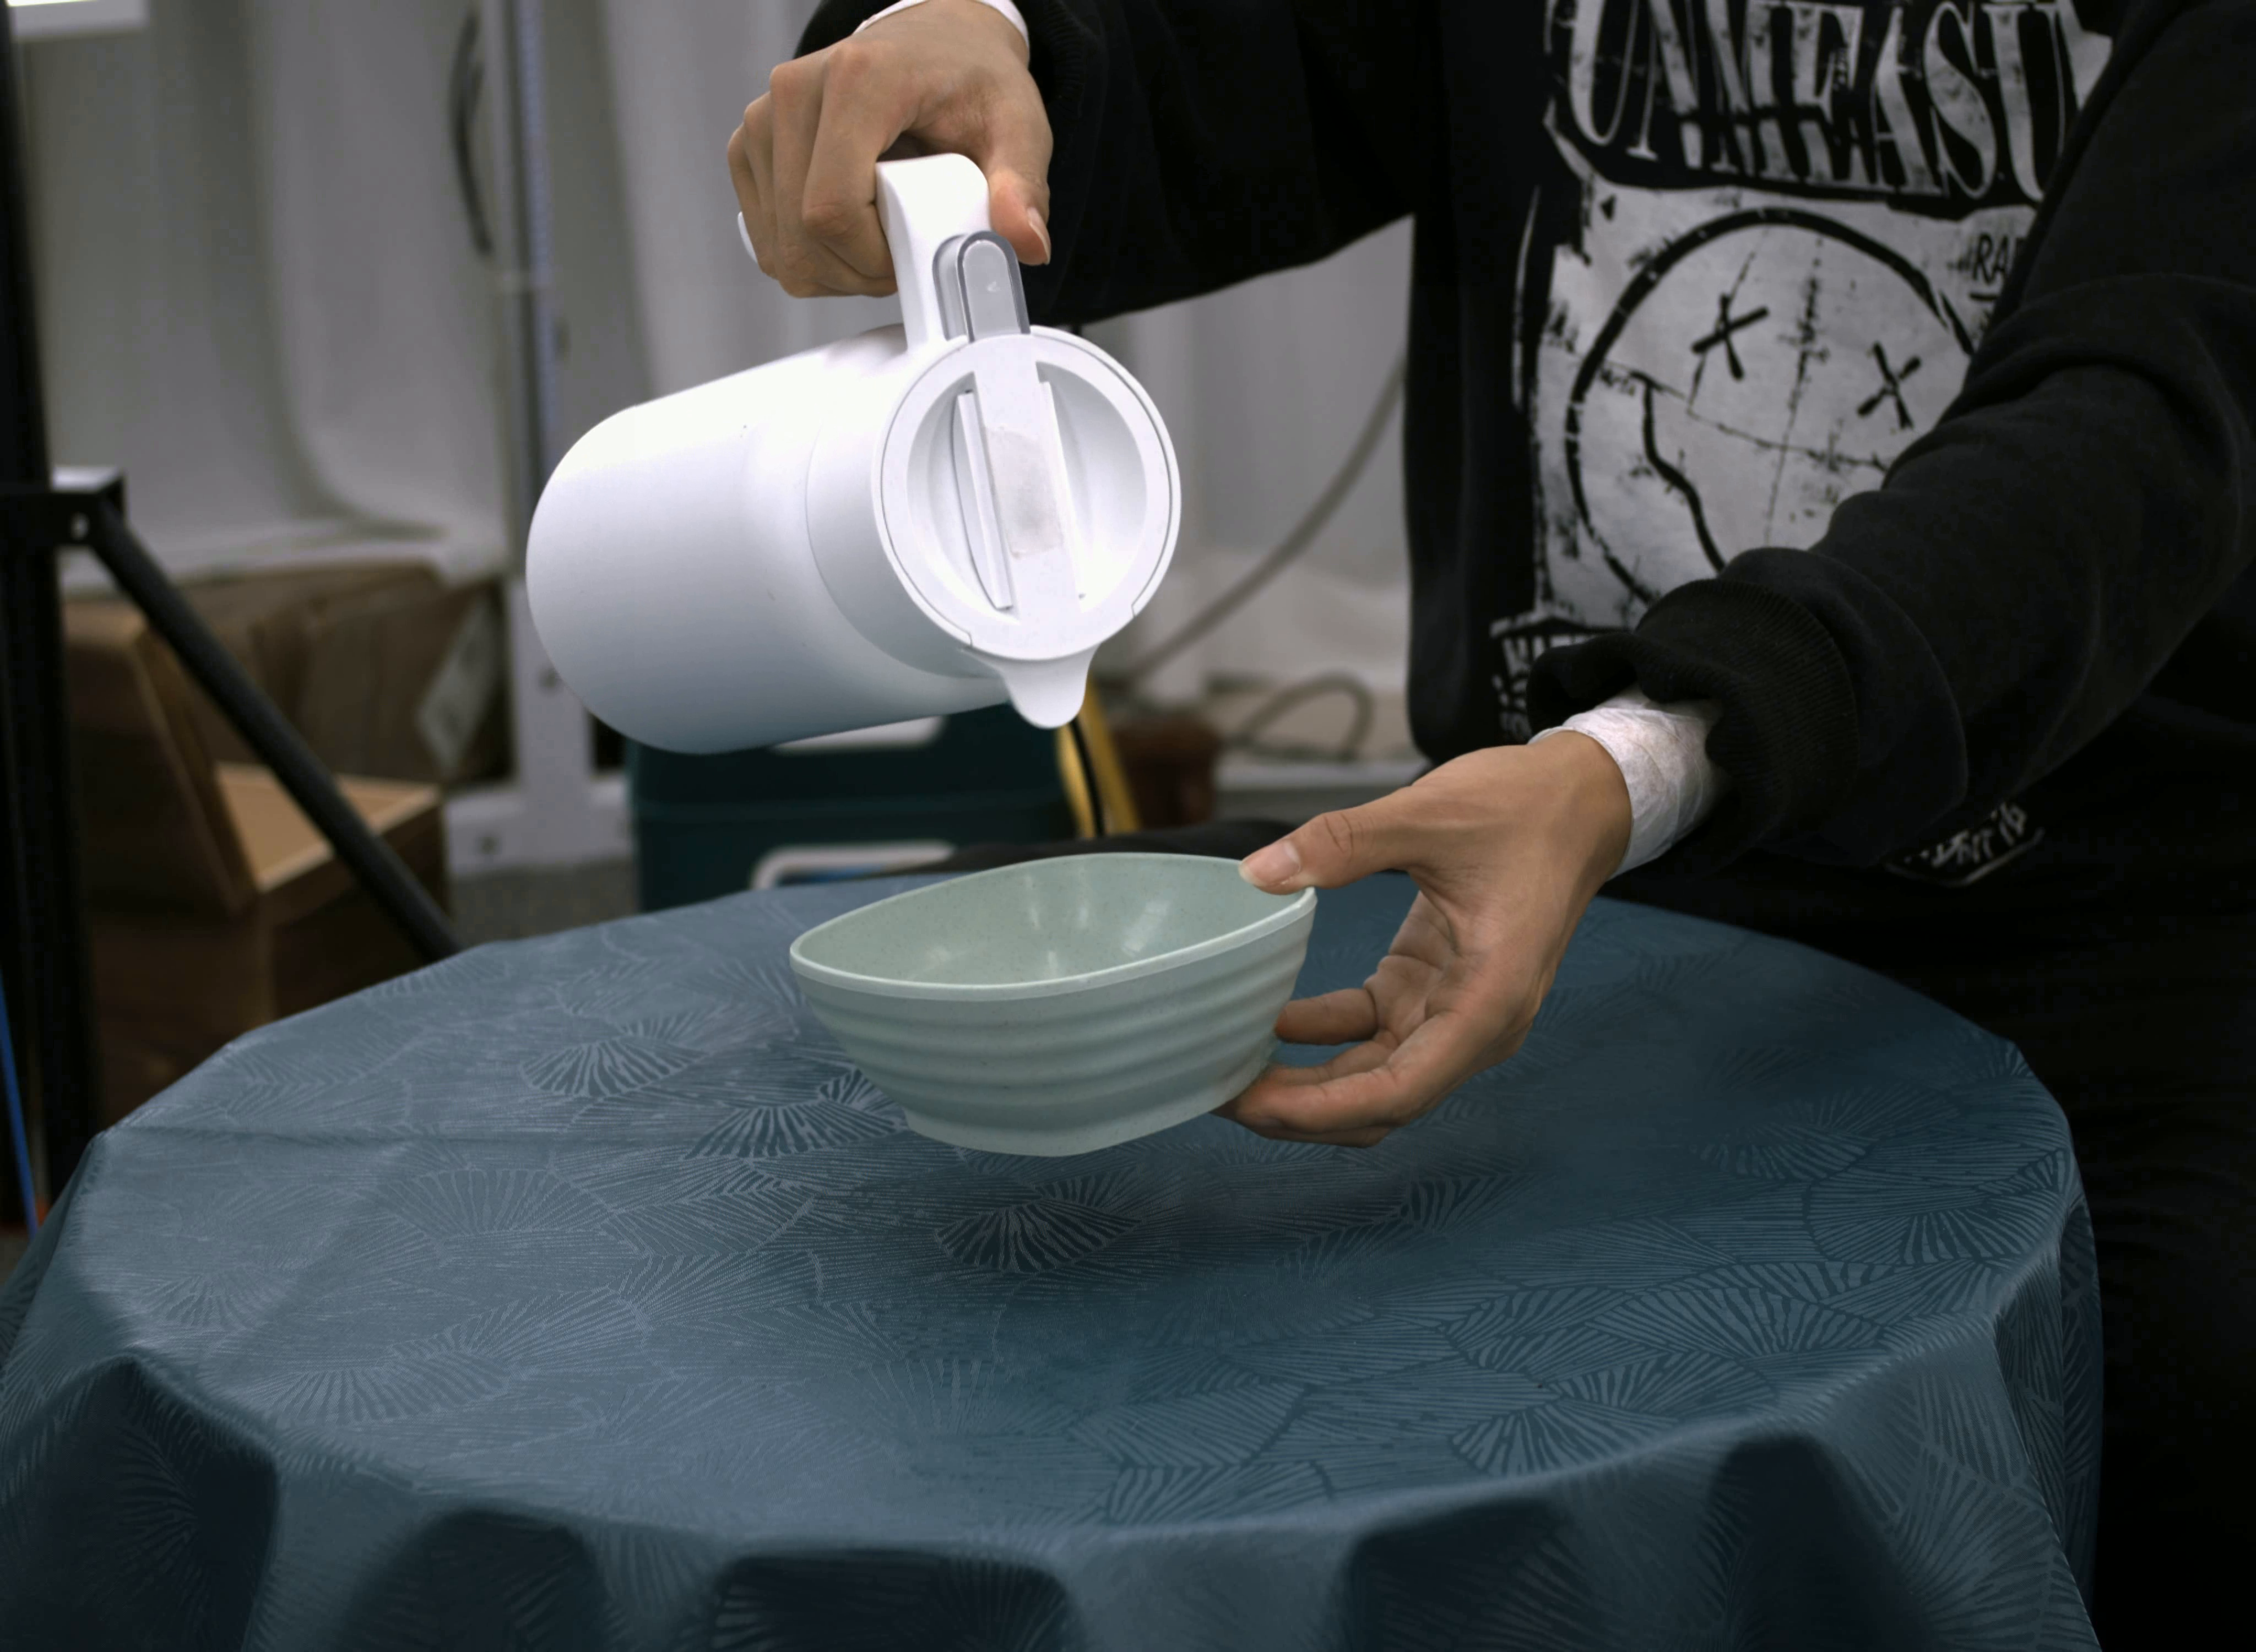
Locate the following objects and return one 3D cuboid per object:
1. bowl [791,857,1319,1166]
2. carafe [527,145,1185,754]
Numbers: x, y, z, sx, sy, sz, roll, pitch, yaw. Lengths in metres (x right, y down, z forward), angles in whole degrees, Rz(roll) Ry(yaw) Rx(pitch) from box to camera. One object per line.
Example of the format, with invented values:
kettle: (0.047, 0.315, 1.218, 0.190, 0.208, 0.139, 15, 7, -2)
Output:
bowl: (-0.018, 0.055, 1.510, 0.151, 0.058, 0.152, -7, 13, 0)
carafe: (-0.091, -0.106, 1.632, 0.121, 0.173, 0.273, -12, 2, -24)
